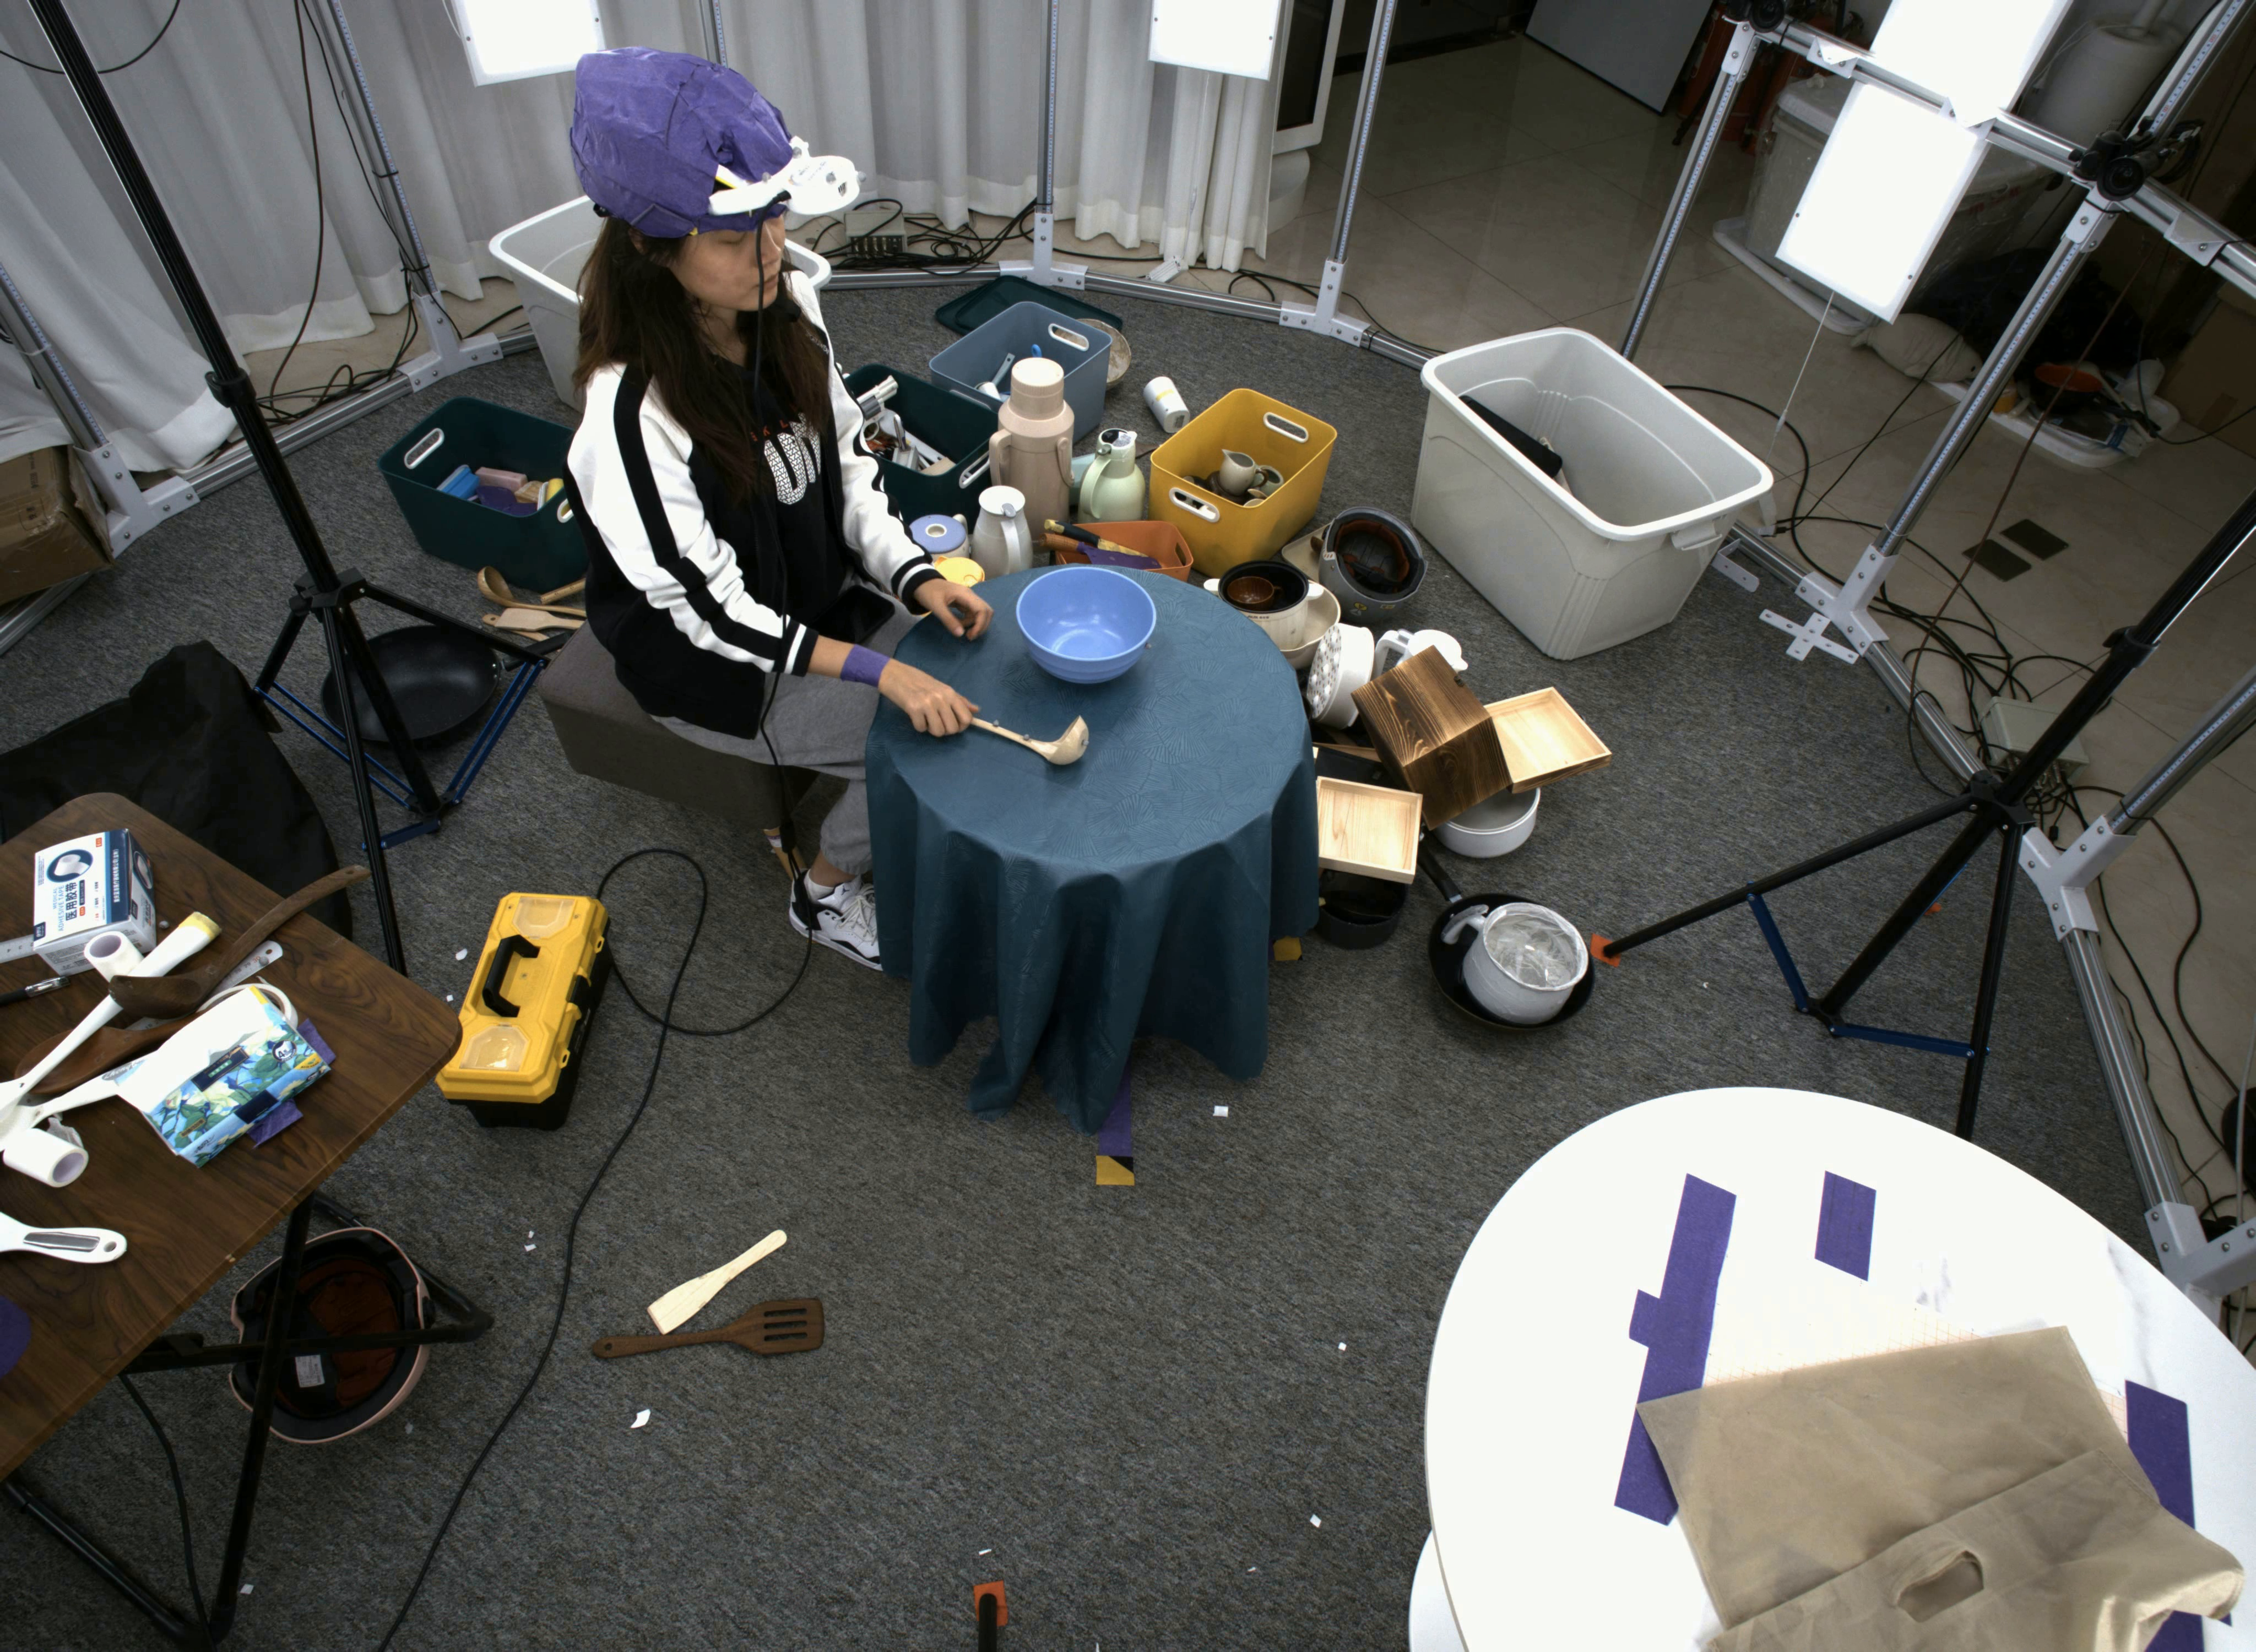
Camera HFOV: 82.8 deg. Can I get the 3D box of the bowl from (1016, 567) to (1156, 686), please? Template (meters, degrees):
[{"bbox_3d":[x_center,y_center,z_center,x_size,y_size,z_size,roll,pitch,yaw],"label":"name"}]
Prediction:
[{"bbox_3d":[-0.061,-0.270,1.843,0.196,0.093,0.201,1,50,-2],"label":"bowl"}]

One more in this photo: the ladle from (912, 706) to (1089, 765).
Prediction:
[{"bbox_3d":[-0.177,-0.147,1.739,0.255,0.071,0.073,18,49,11],"label":"ladle"}]
